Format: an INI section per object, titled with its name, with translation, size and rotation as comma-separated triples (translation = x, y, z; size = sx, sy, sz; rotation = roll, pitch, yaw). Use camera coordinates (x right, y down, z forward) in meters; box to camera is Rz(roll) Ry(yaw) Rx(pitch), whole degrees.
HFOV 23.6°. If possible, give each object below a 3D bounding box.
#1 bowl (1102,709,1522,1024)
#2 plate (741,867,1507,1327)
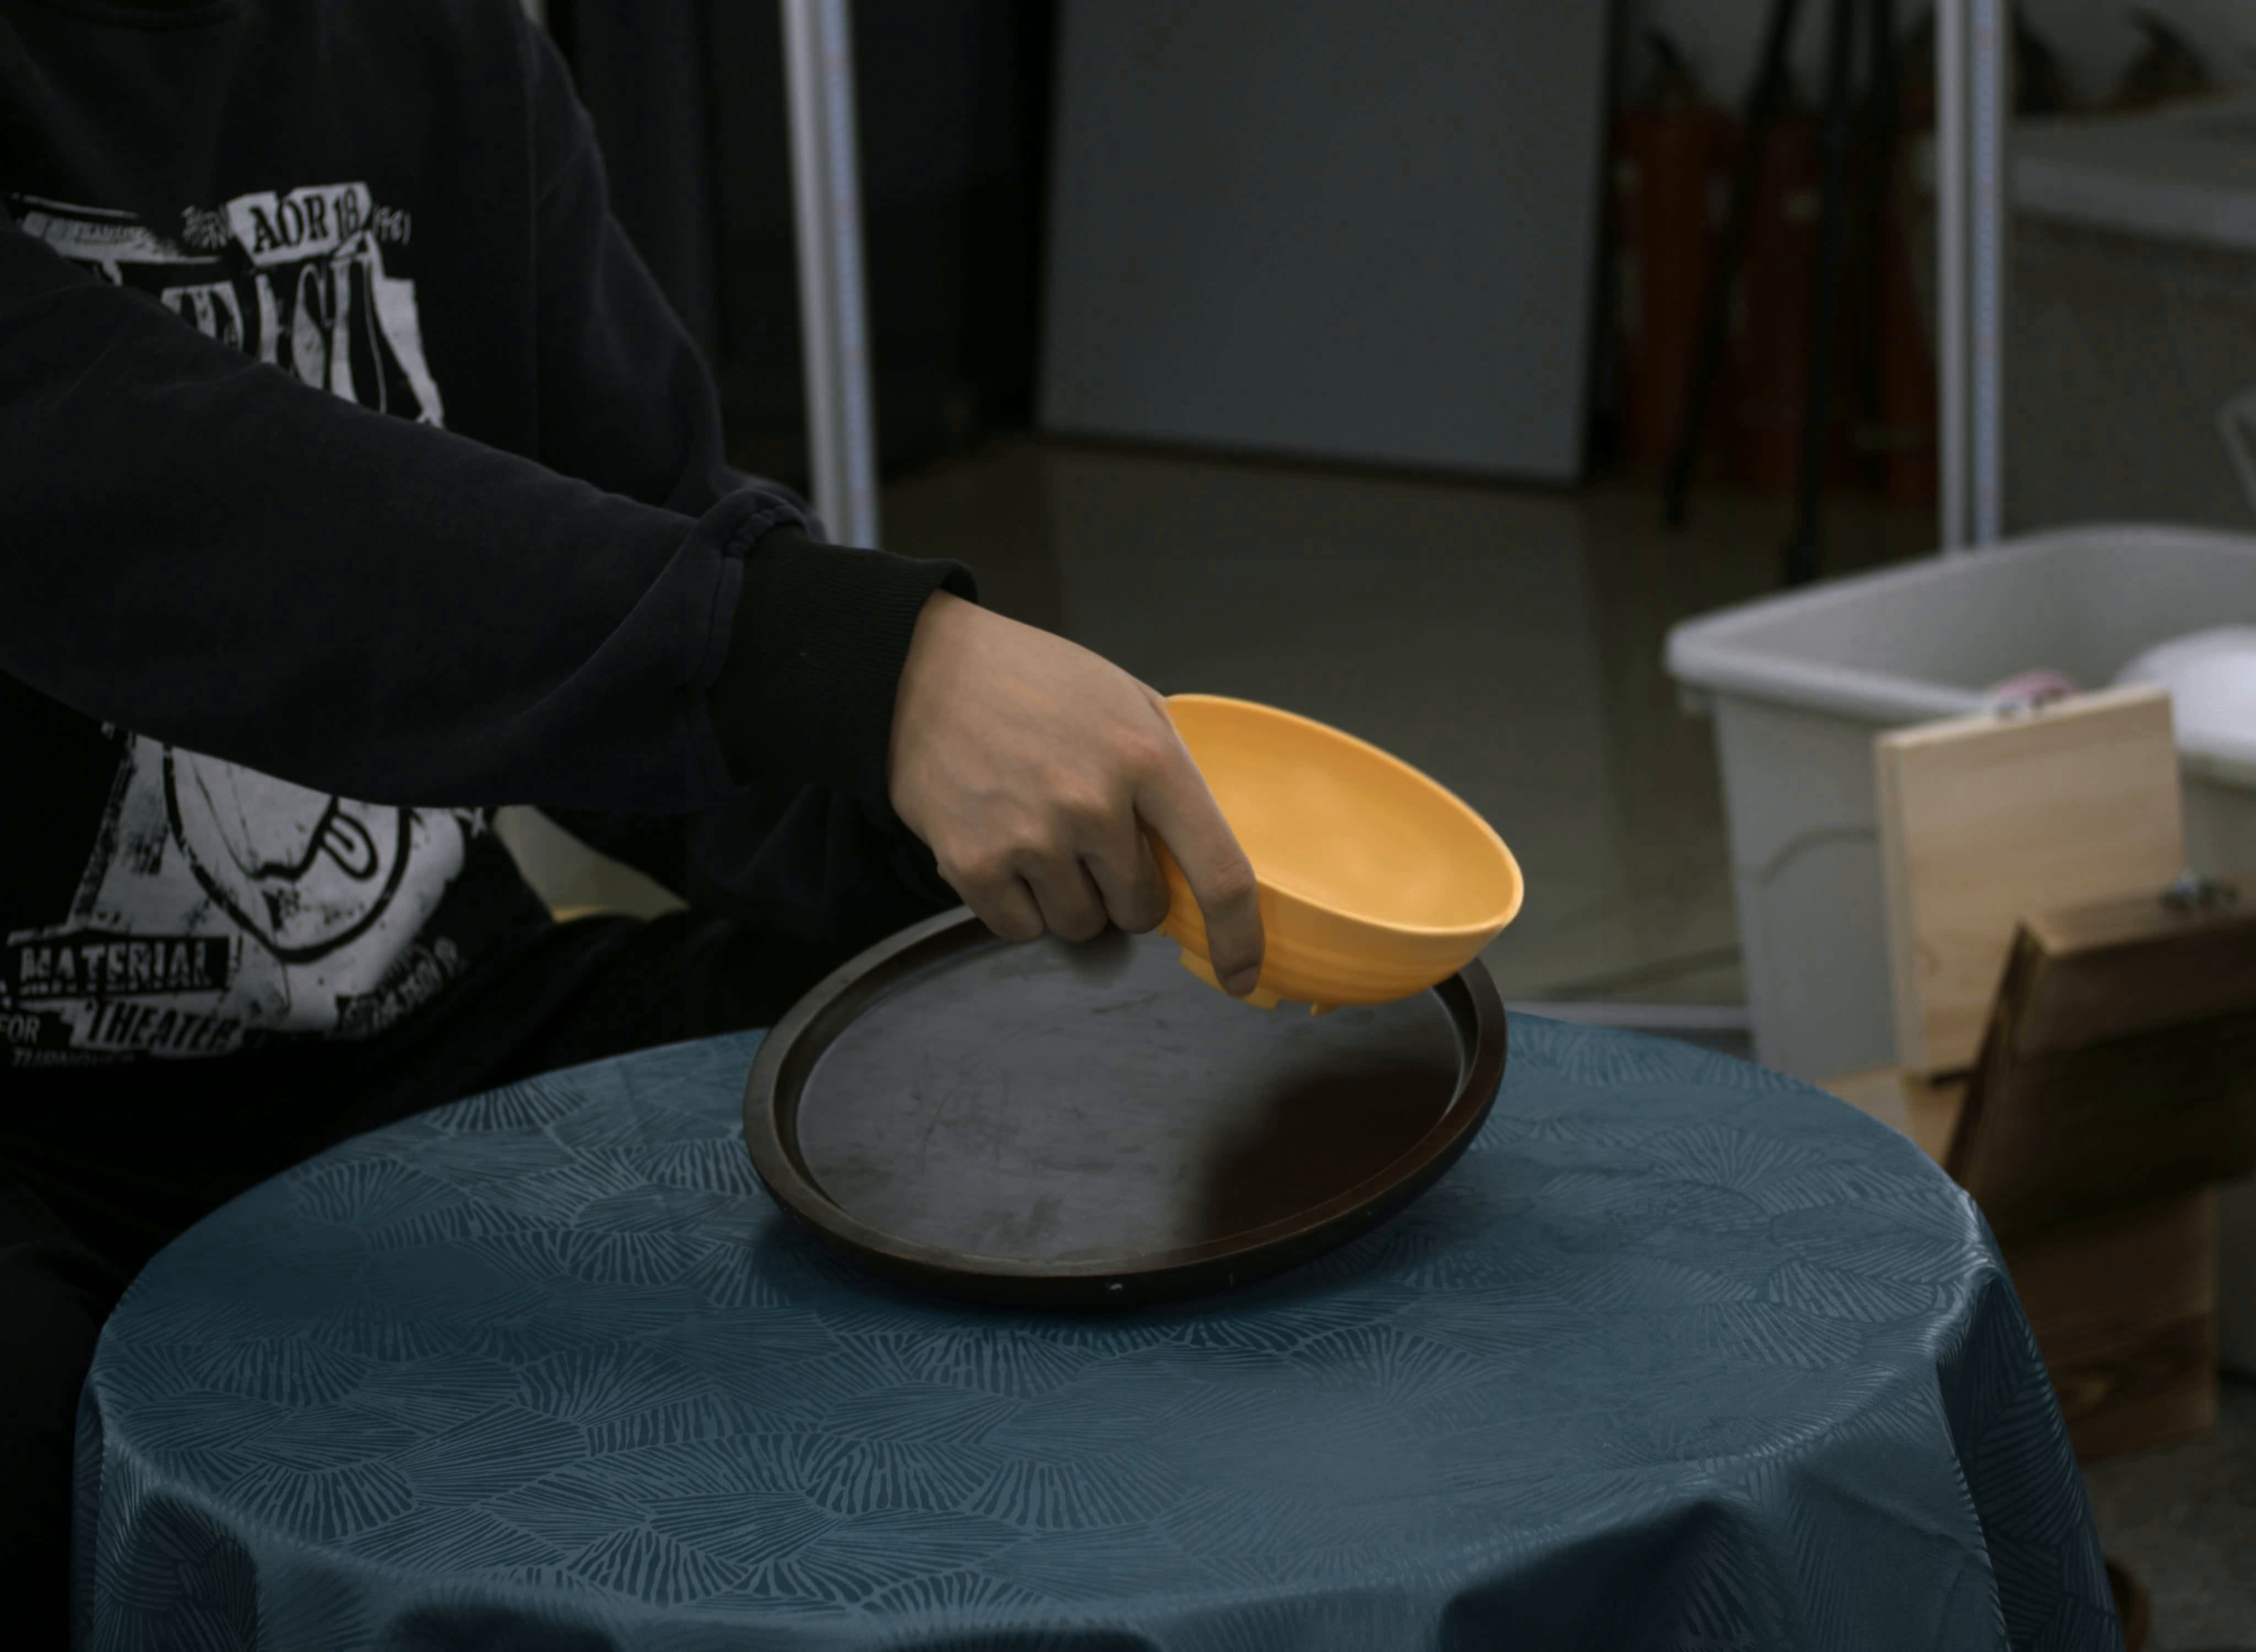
[bowl]
translation = 0.050, 0.022, 1.727
size = 0.143, 0.061, 0.146
rotation = 19, 20, -8
[plate]
translation = 0.000, 0.085, 1.752
size = 0.252, 0.029, 0.256
rotation = -9, 29, 4
